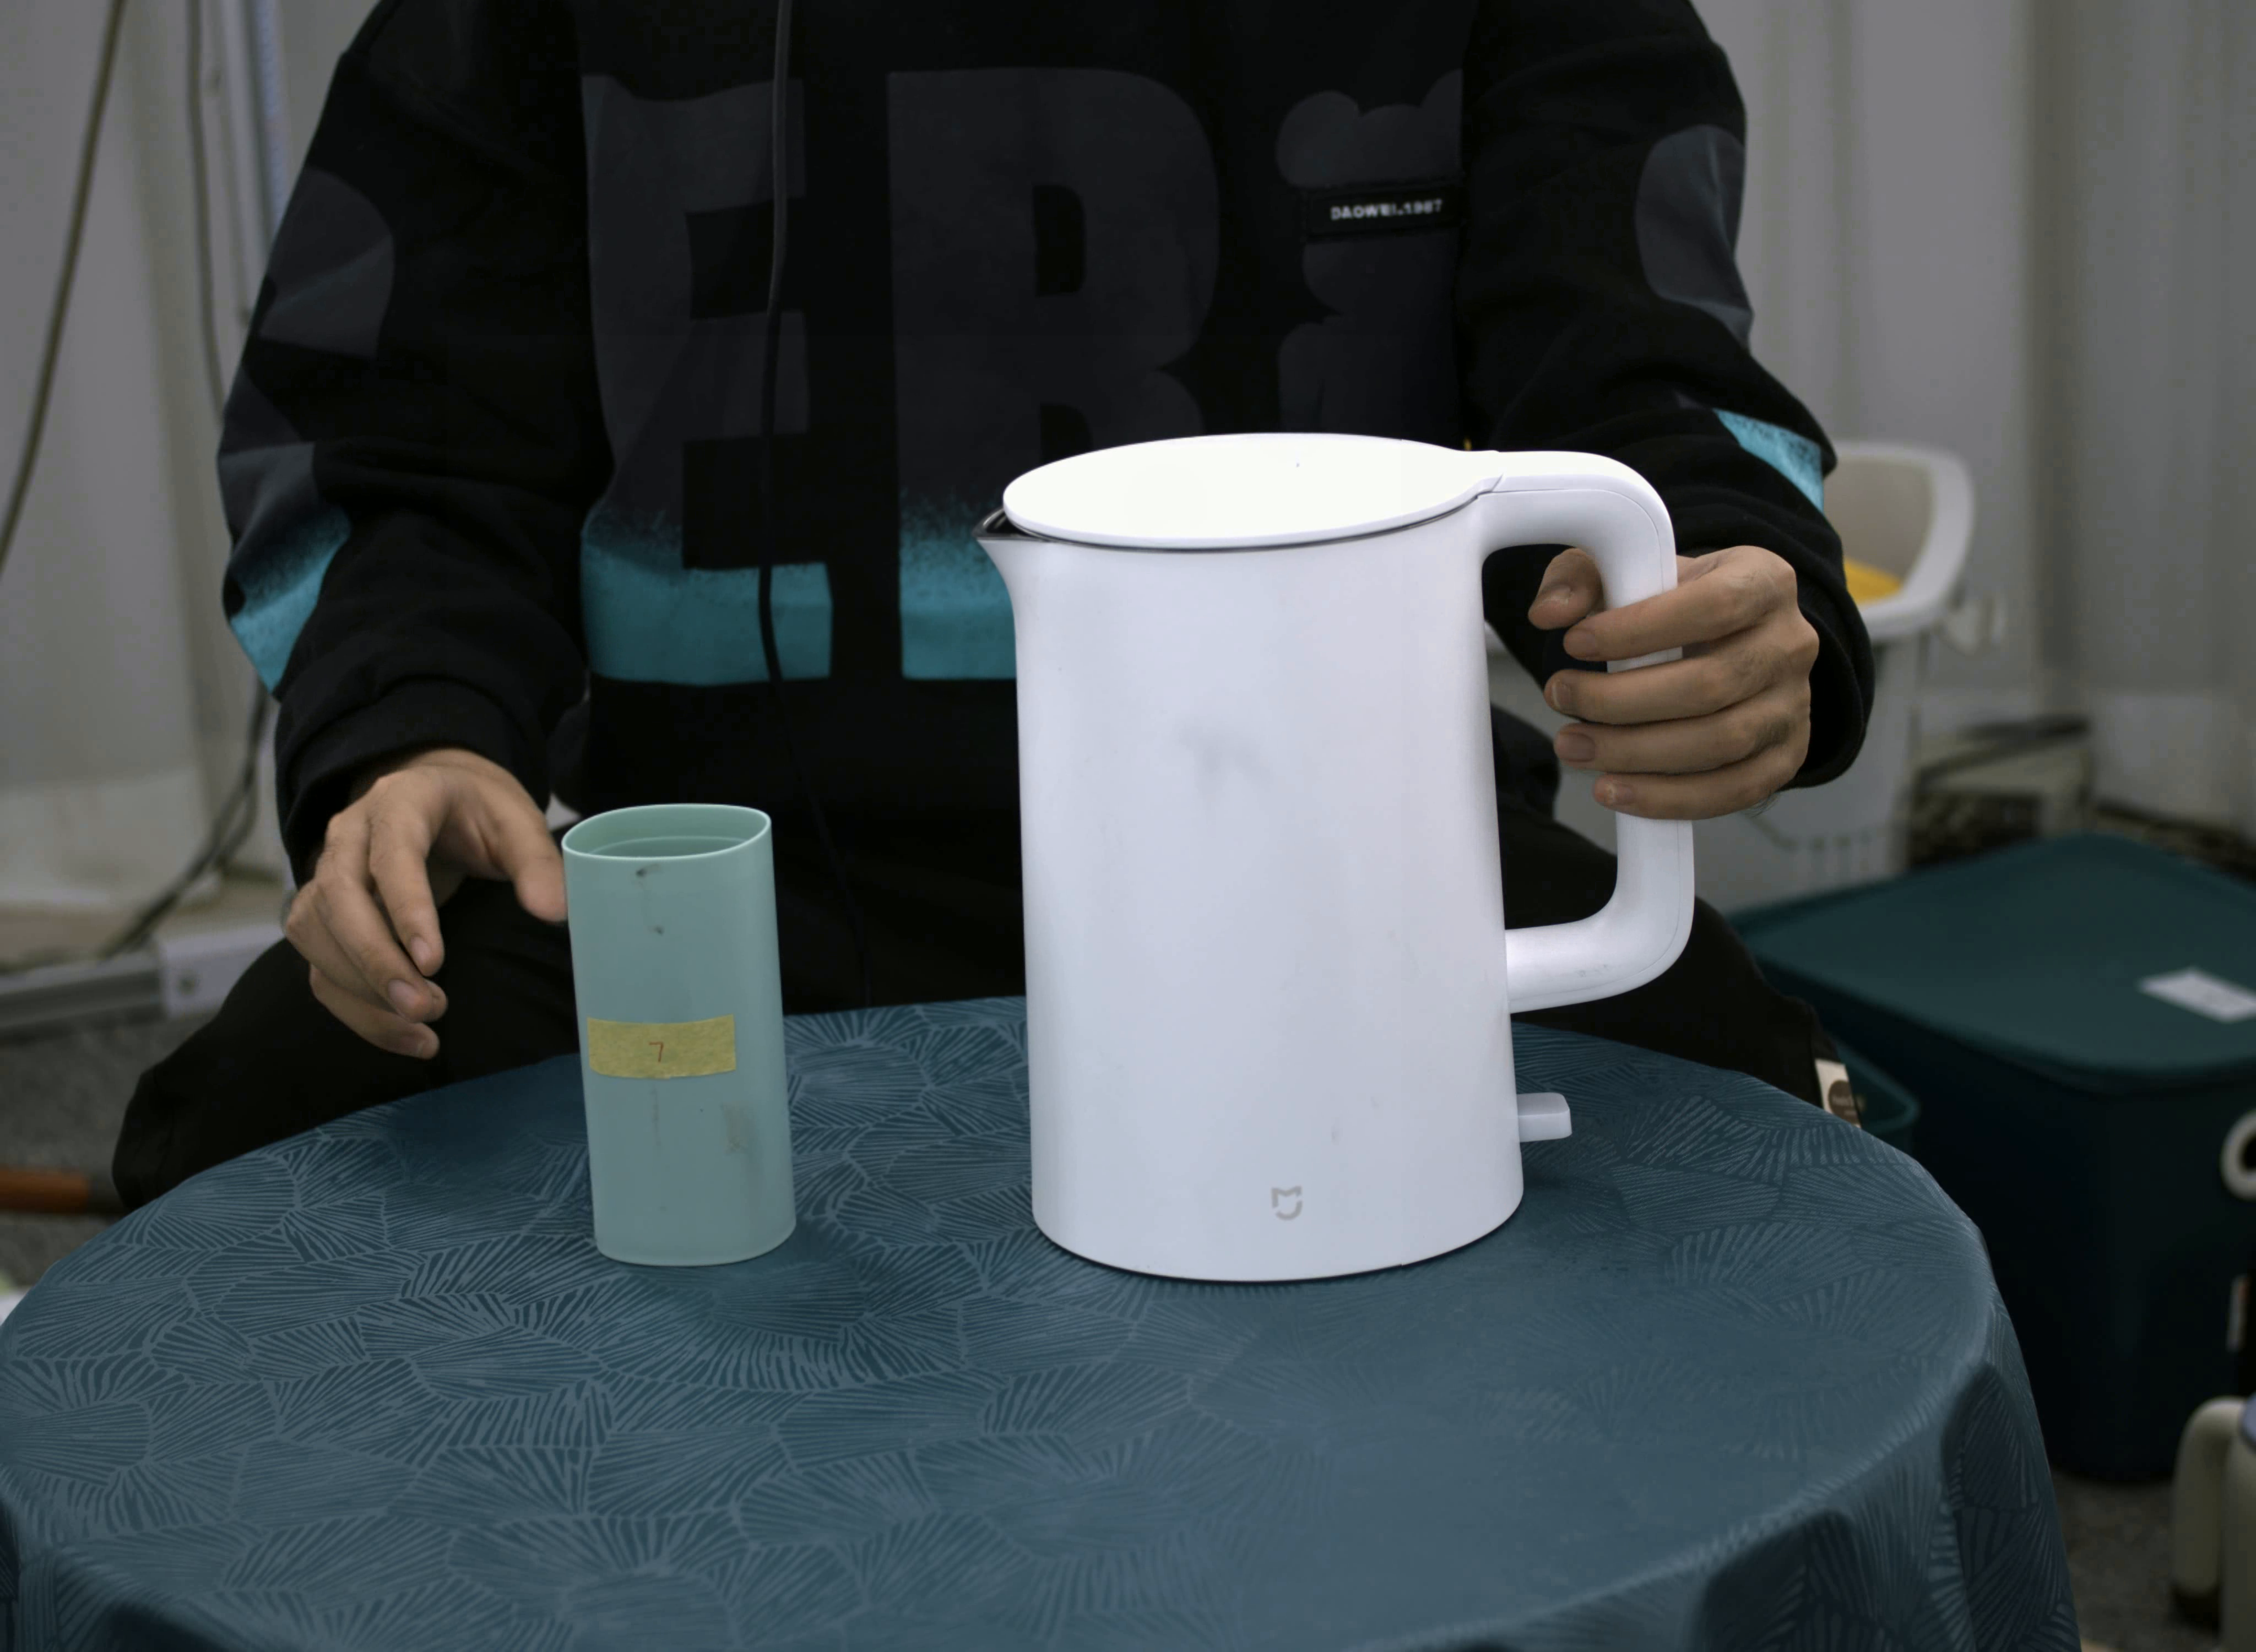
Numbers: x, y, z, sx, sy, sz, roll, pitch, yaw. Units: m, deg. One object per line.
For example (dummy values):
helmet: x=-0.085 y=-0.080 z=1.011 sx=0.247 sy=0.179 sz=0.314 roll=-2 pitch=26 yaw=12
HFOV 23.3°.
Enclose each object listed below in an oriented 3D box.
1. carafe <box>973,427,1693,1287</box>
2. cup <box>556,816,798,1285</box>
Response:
carafe: x=0.066 y=0.005 z=1.666 sx=0.212 sy=0.239 sz=0.153 roll=-4 pitch=15 yaw=-2
cup: x=-0.137 y=0.068 z=1.679 sx=0.066 sy=0.132 sz=0.067 roll=-4 pitch=14 yaw=1
